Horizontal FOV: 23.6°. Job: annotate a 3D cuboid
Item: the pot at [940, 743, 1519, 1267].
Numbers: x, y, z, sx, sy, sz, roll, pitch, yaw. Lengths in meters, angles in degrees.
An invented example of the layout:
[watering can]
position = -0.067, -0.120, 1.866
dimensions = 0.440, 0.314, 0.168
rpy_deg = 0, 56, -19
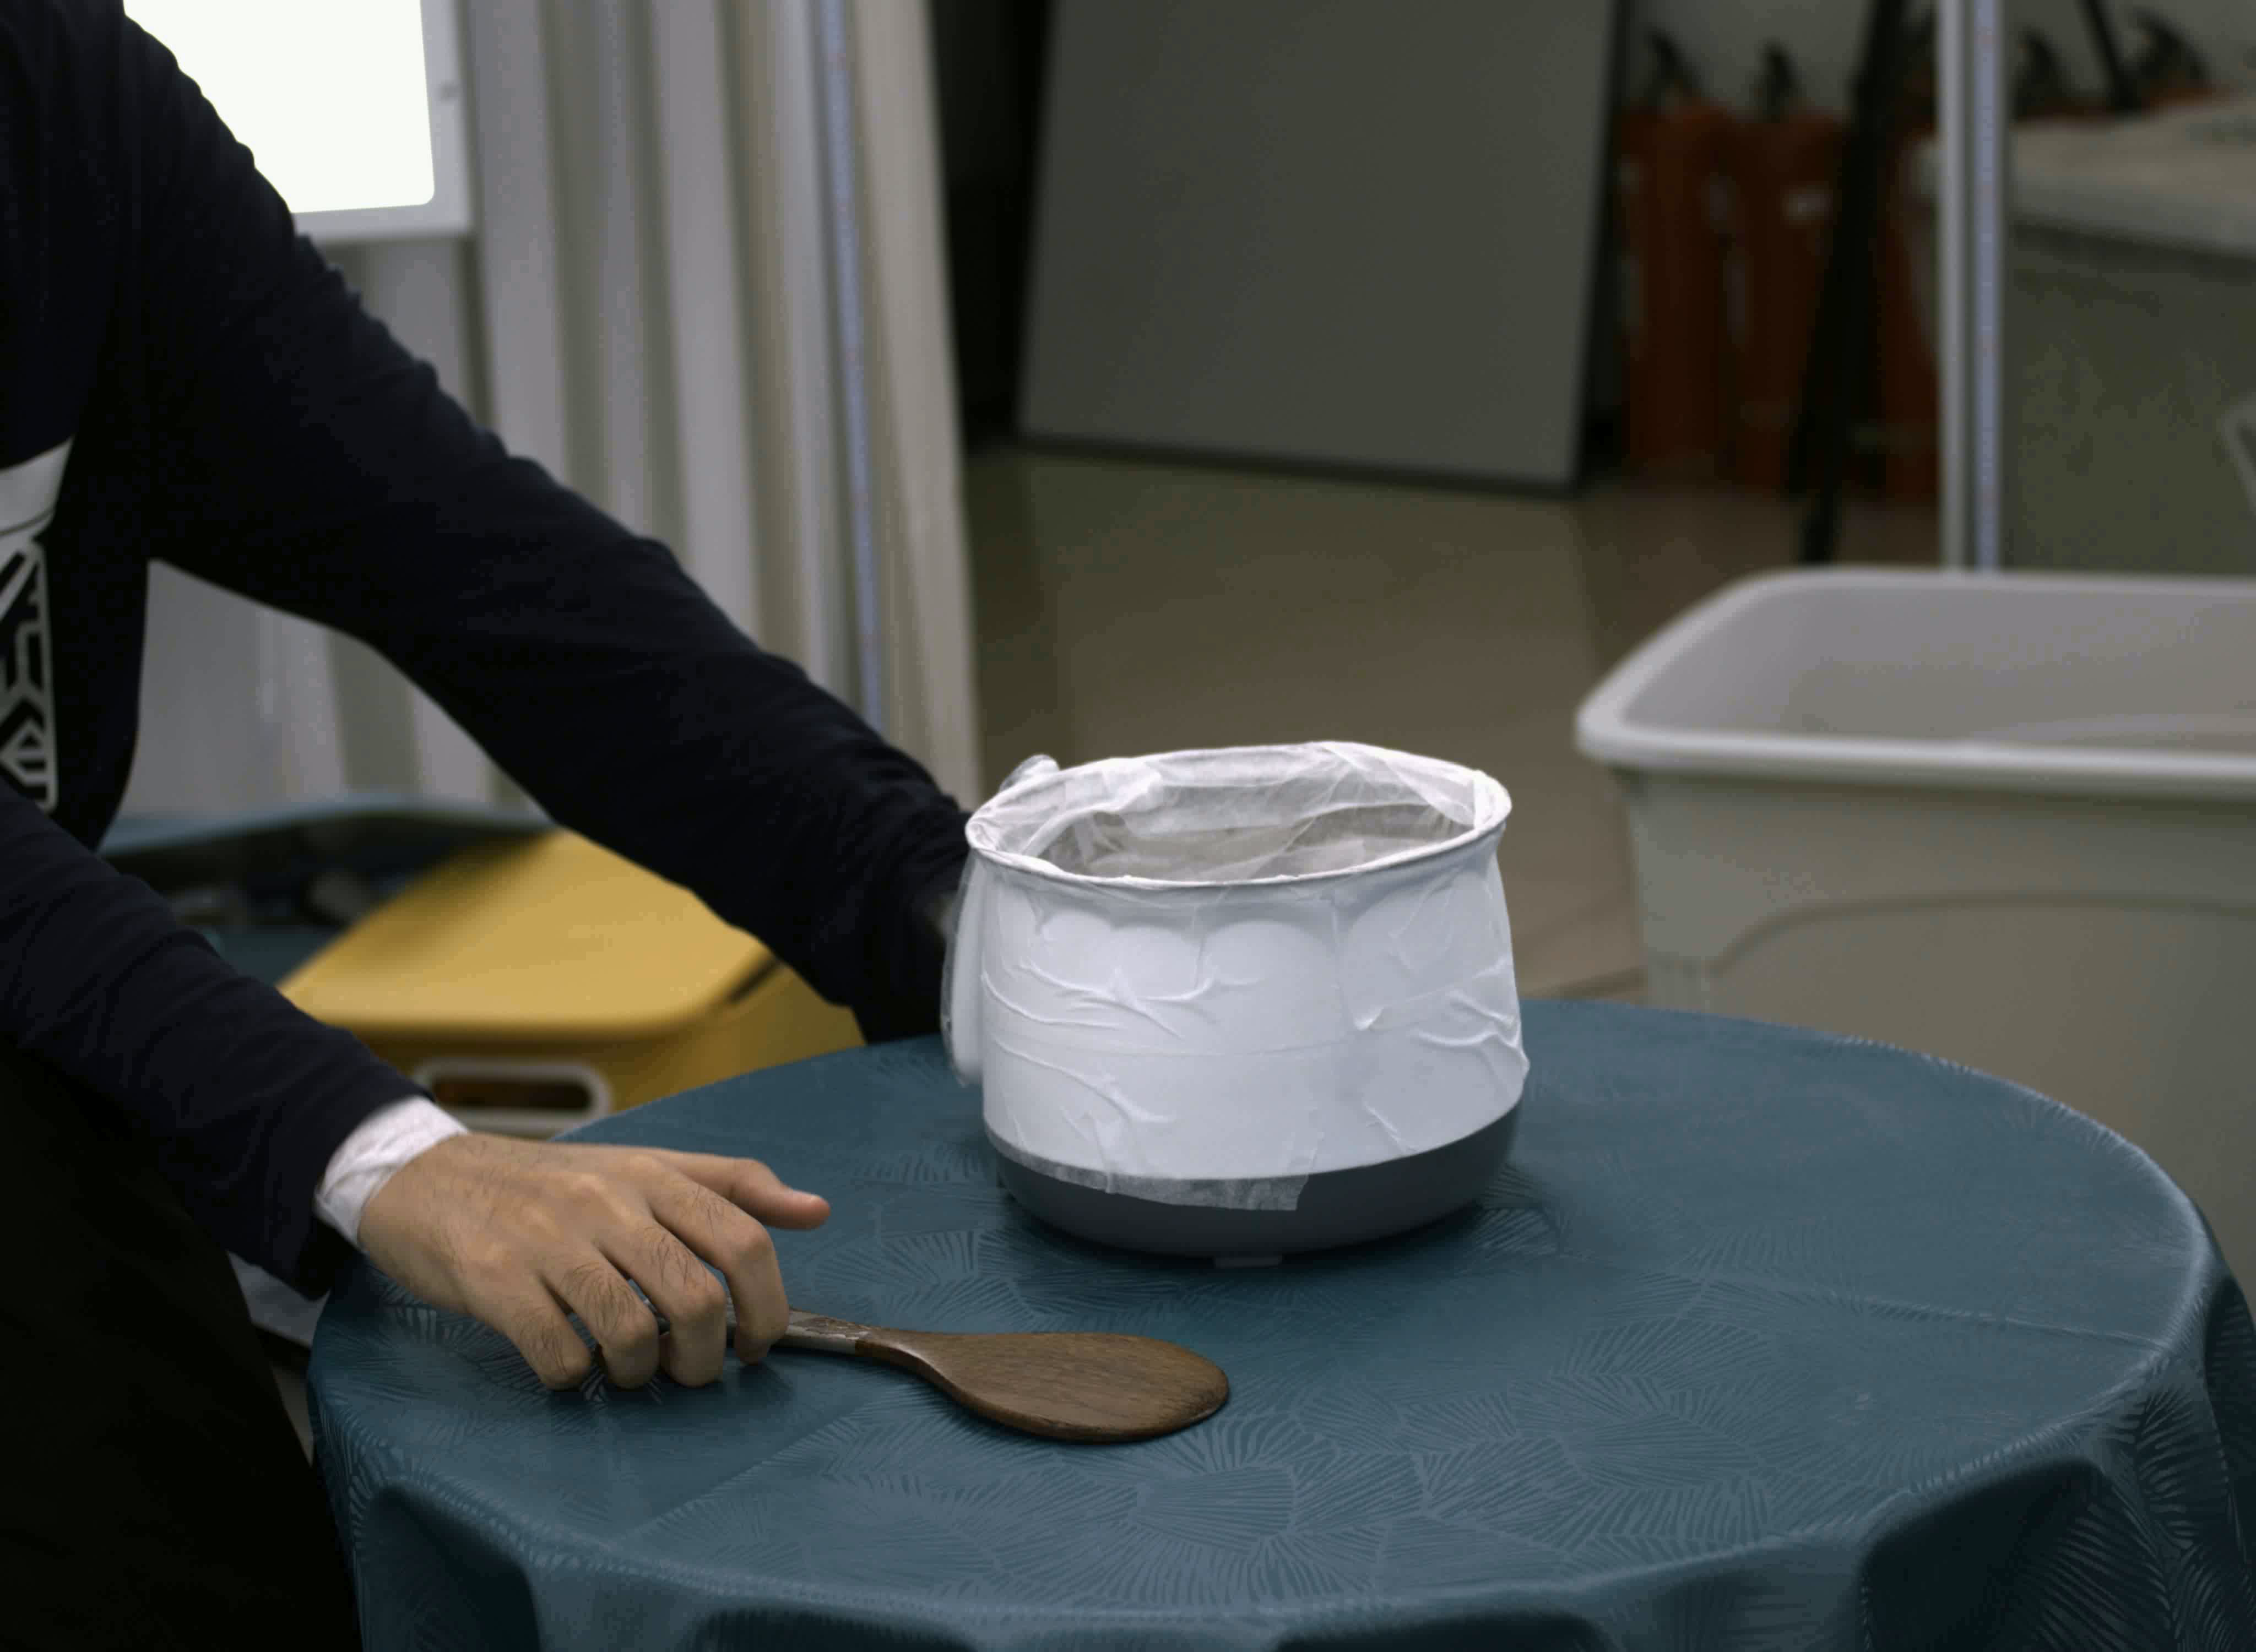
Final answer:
[pot]
position = 0.020, 0.051, 1.760
dimensions = 0.175, 0.138, 0.236
rpy_deg = -12, 16, -41

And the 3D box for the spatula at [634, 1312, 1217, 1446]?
[spatula]
position = -0.064, 0.161, 1.620
dimensions = 0.217, 0.009, 0.070
rpy_deg = 5, 14, 38
